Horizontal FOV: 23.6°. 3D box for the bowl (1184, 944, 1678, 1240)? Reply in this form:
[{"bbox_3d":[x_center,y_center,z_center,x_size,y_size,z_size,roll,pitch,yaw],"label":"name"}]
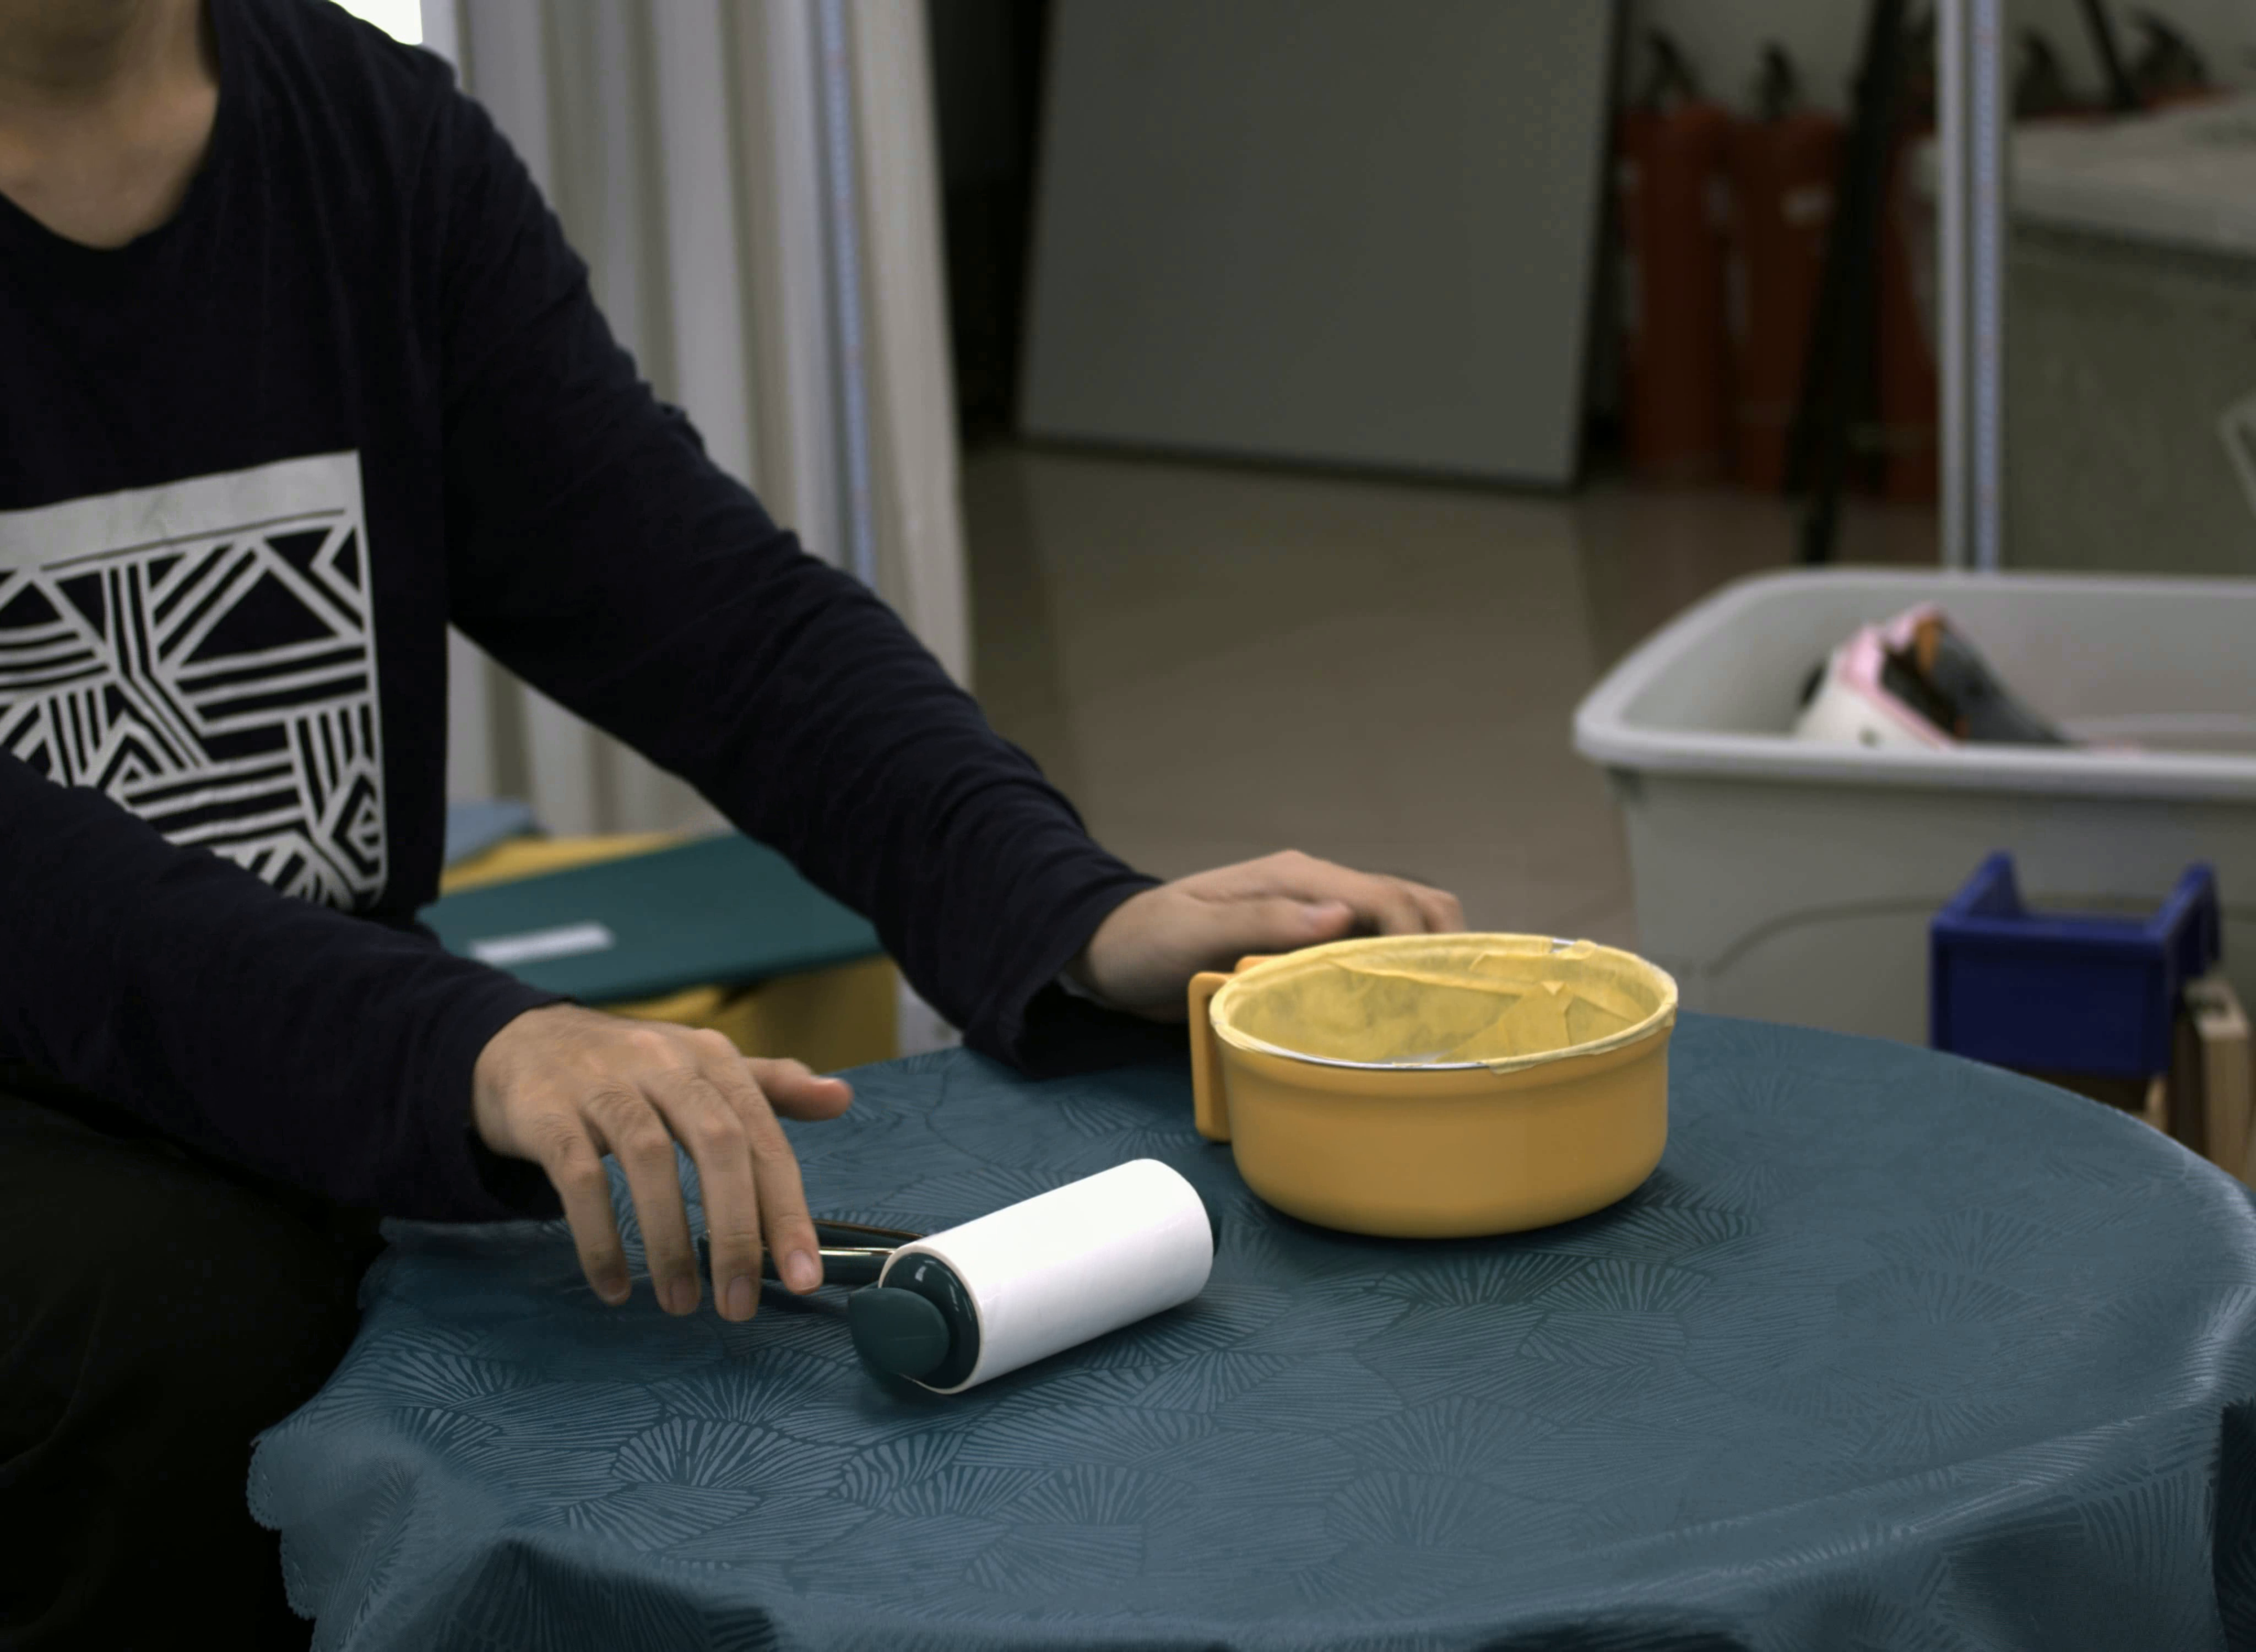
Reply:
[{"bbox_3d":[0.094,0.086,1.754,0.180,0.075,0.150,7,19,39],"label":"bowl"}]

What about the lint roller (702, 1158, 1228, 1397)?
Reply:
[{"bbox_3d":[-0.072,0.132,1.671,0.131,0.049,0.182,-18,15,-42],"label":"lint roller"}]
